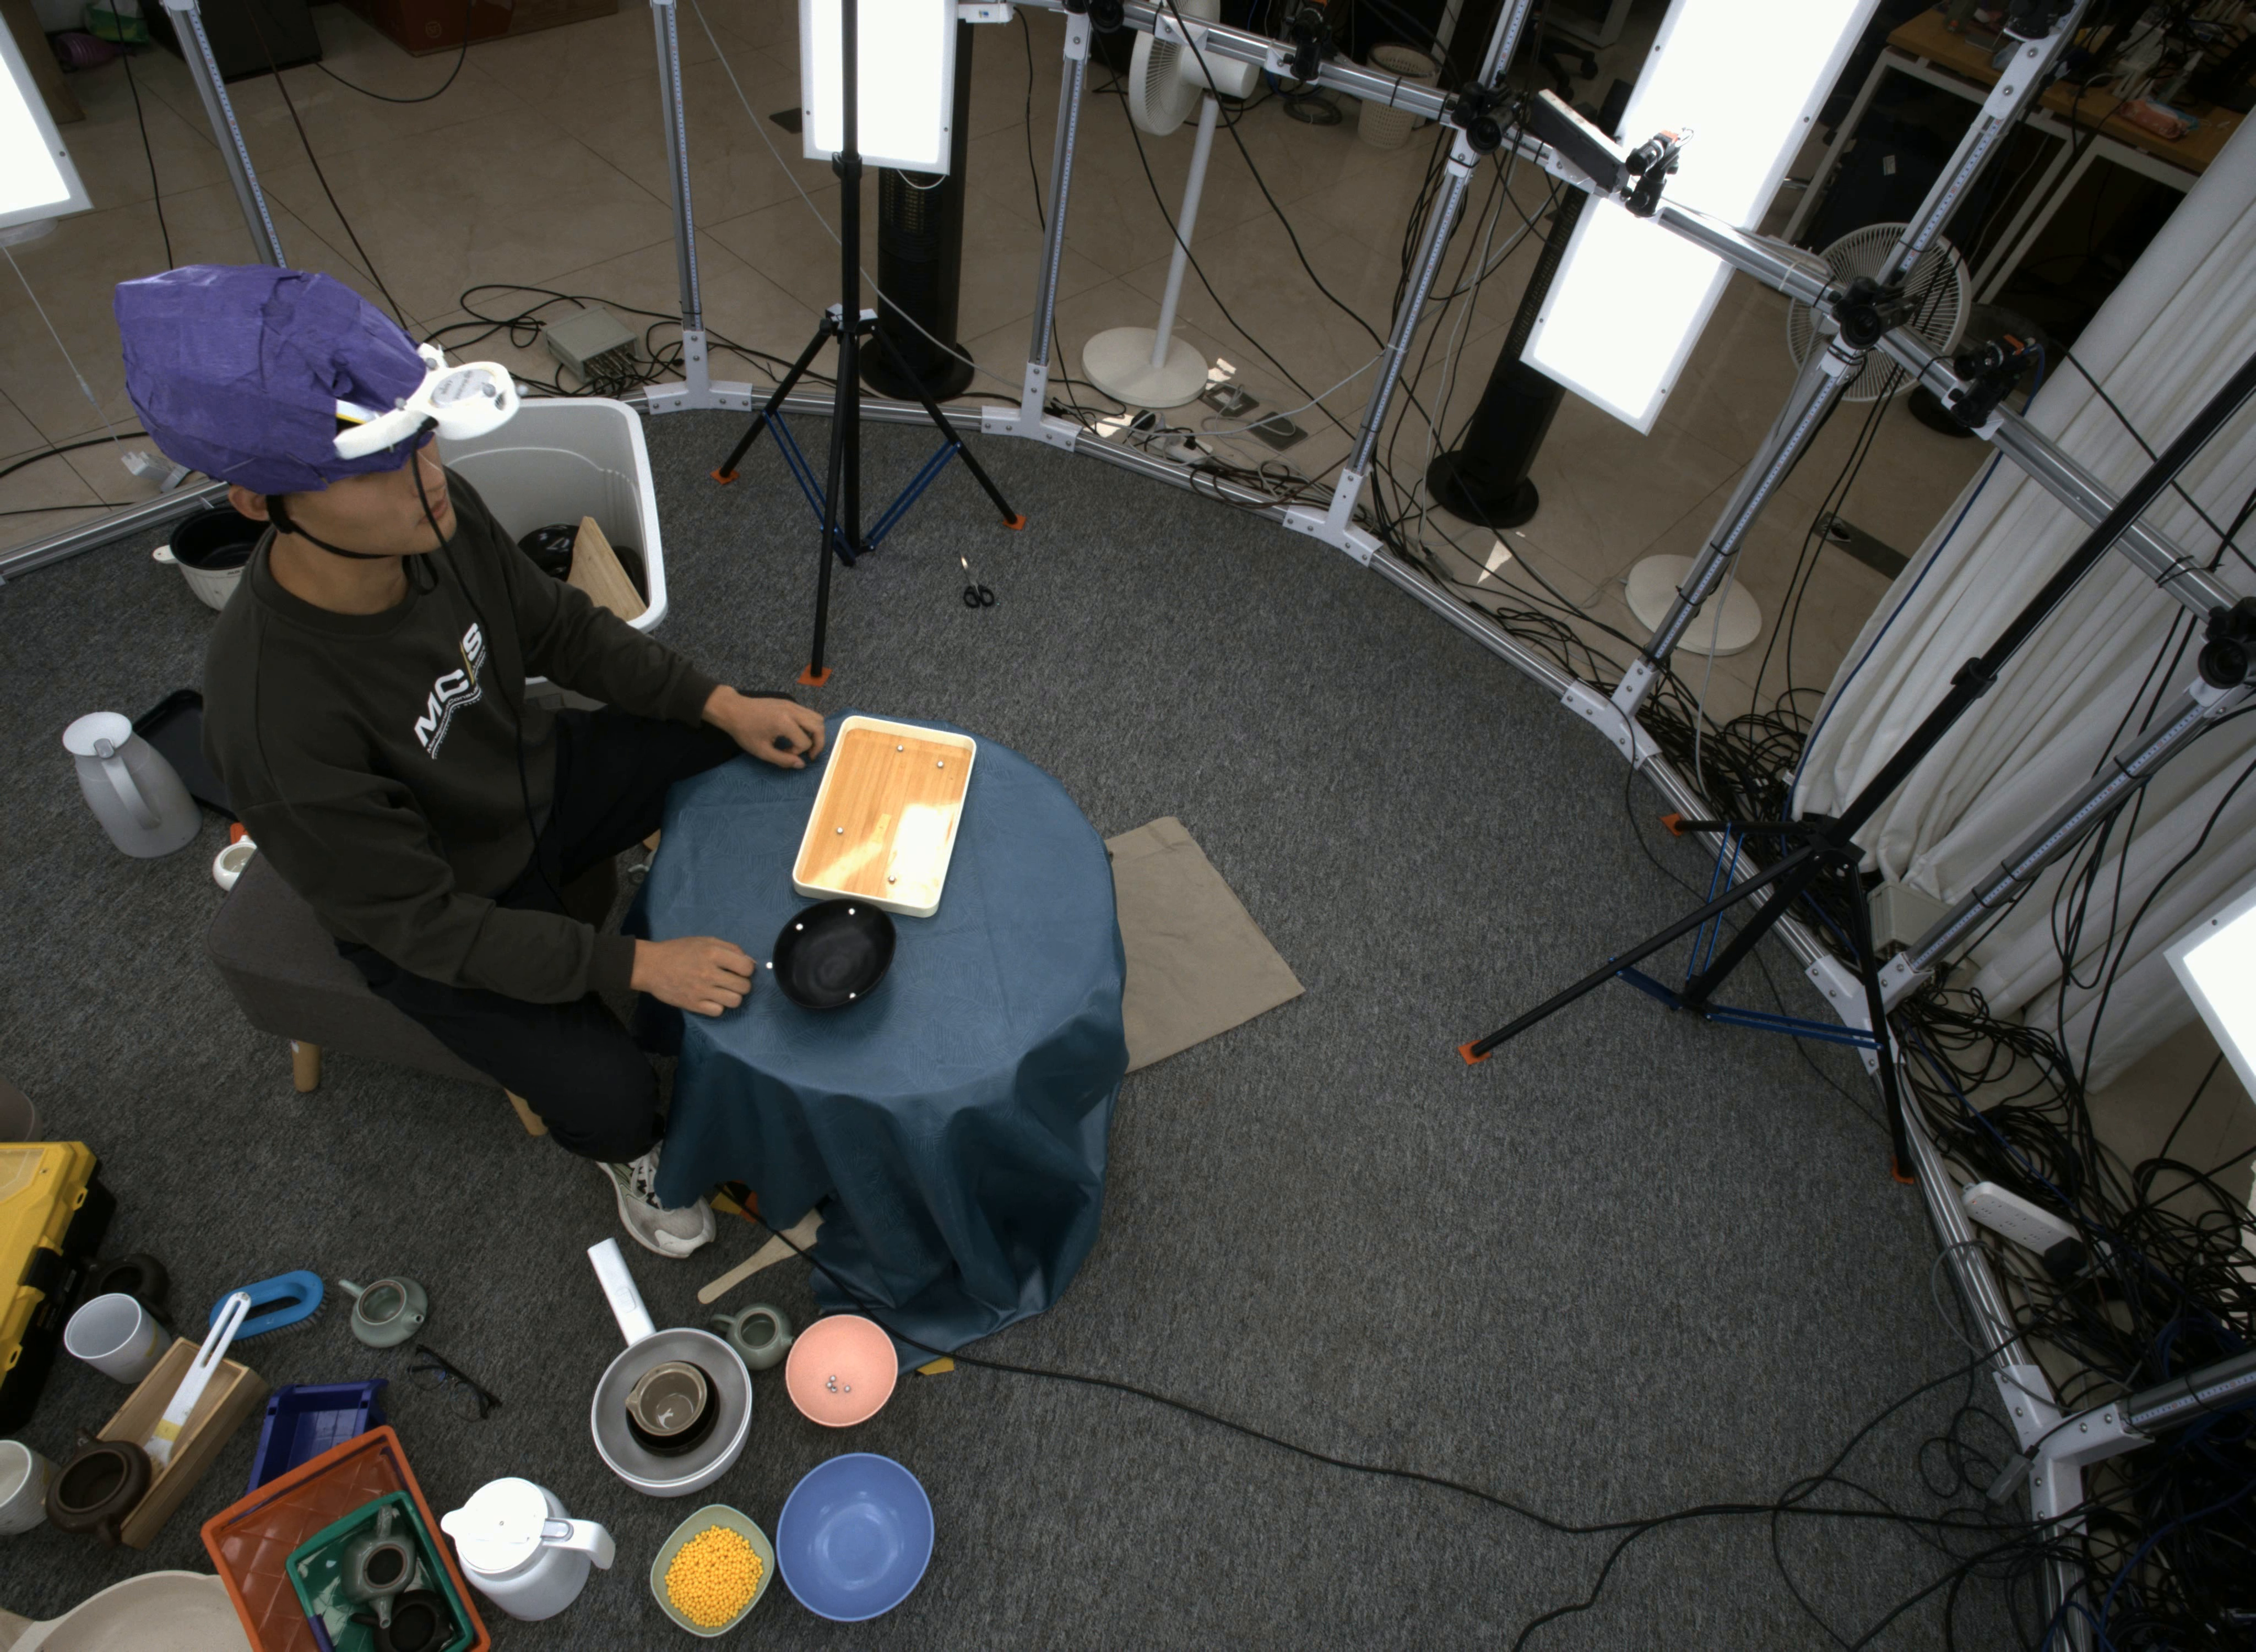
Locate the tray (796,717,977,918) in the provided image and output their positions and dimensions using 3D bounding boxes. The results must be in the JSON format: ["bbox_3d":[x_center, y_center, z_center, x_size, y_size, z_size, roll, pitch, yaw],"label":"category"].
[{"bbox_3d":[-0.321,-0.017,1.755,0.190,0.028,0.295,11,52,-5],"label":"tray"}]

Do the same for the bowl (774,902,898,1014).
[{"bbox_3d":[-0.355,0.166,1.588,0.135,0.068,0.169,27,51,7],"label":"bowl"}]
